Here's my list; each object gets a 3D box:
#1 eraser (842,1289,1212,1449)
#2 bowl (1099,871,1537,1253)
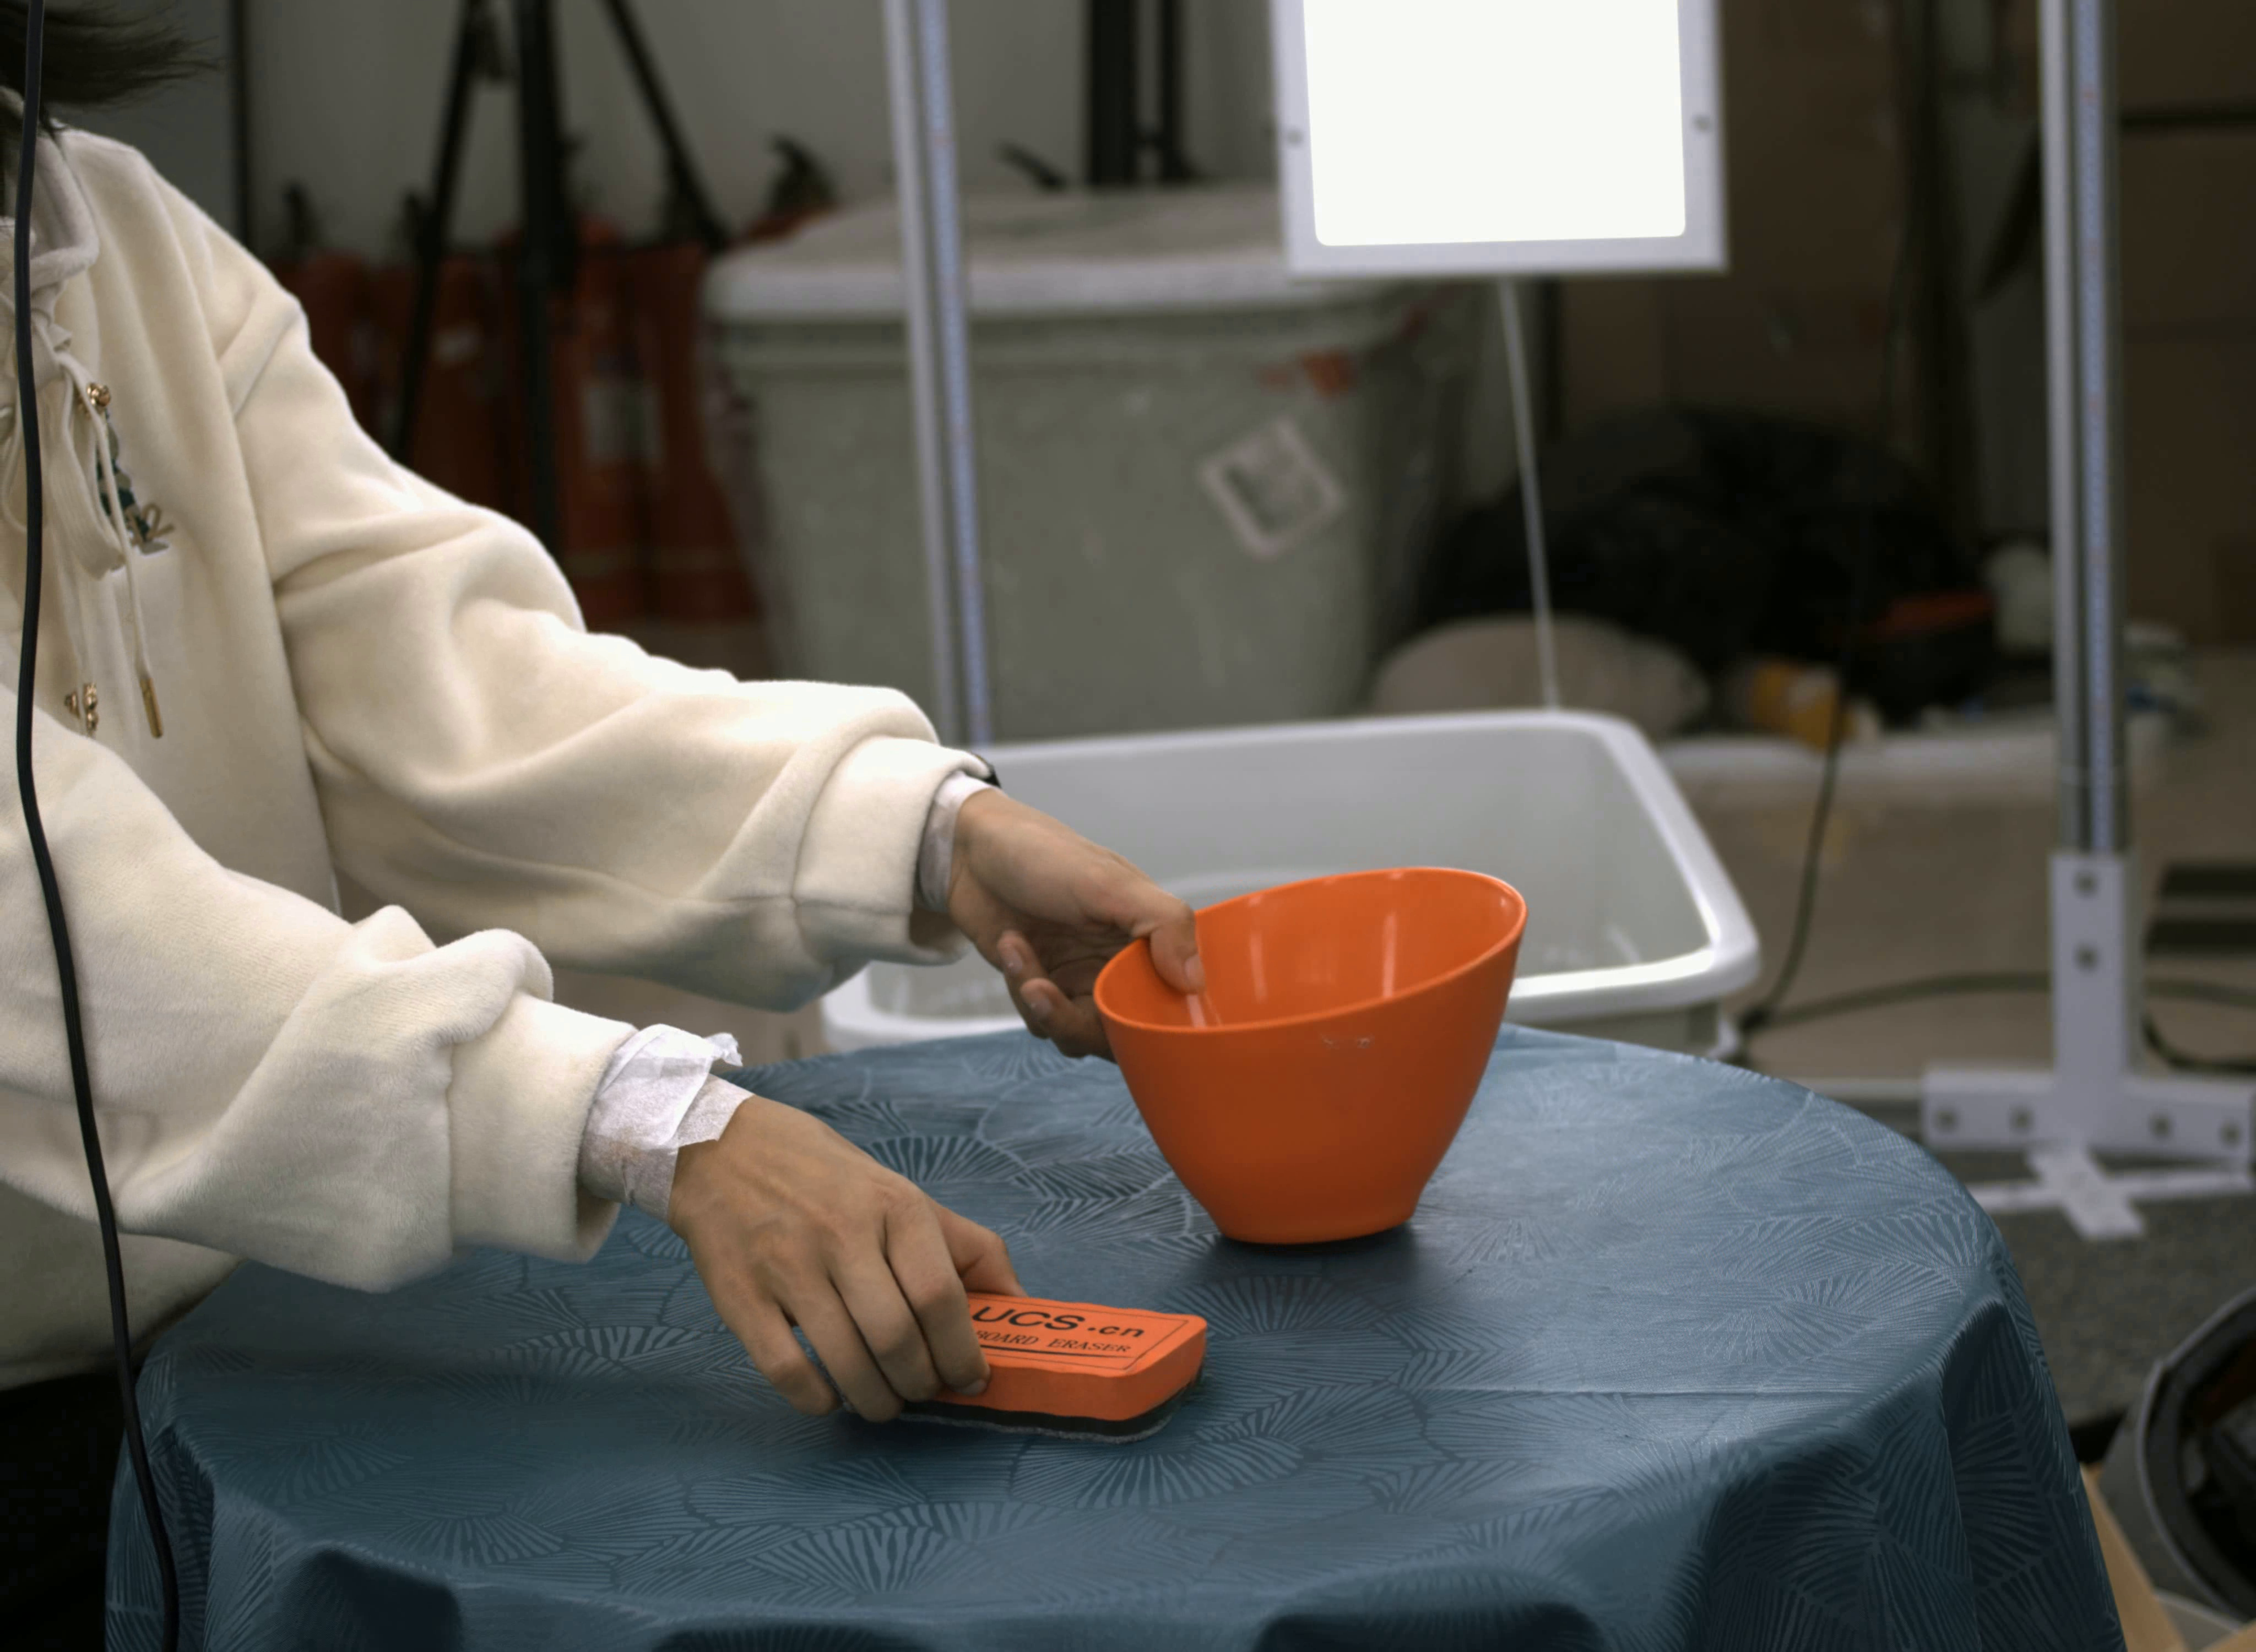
[{"bbox_3d":[-0.031,0.166,1.698,0.110,0.023,0.057,4,18,32],"label":"eraser"},{"bbox_3d":[0.067,0.082,1.839,0.147,0.105,0.148,-6,11,0],"label":"bowl"}]
